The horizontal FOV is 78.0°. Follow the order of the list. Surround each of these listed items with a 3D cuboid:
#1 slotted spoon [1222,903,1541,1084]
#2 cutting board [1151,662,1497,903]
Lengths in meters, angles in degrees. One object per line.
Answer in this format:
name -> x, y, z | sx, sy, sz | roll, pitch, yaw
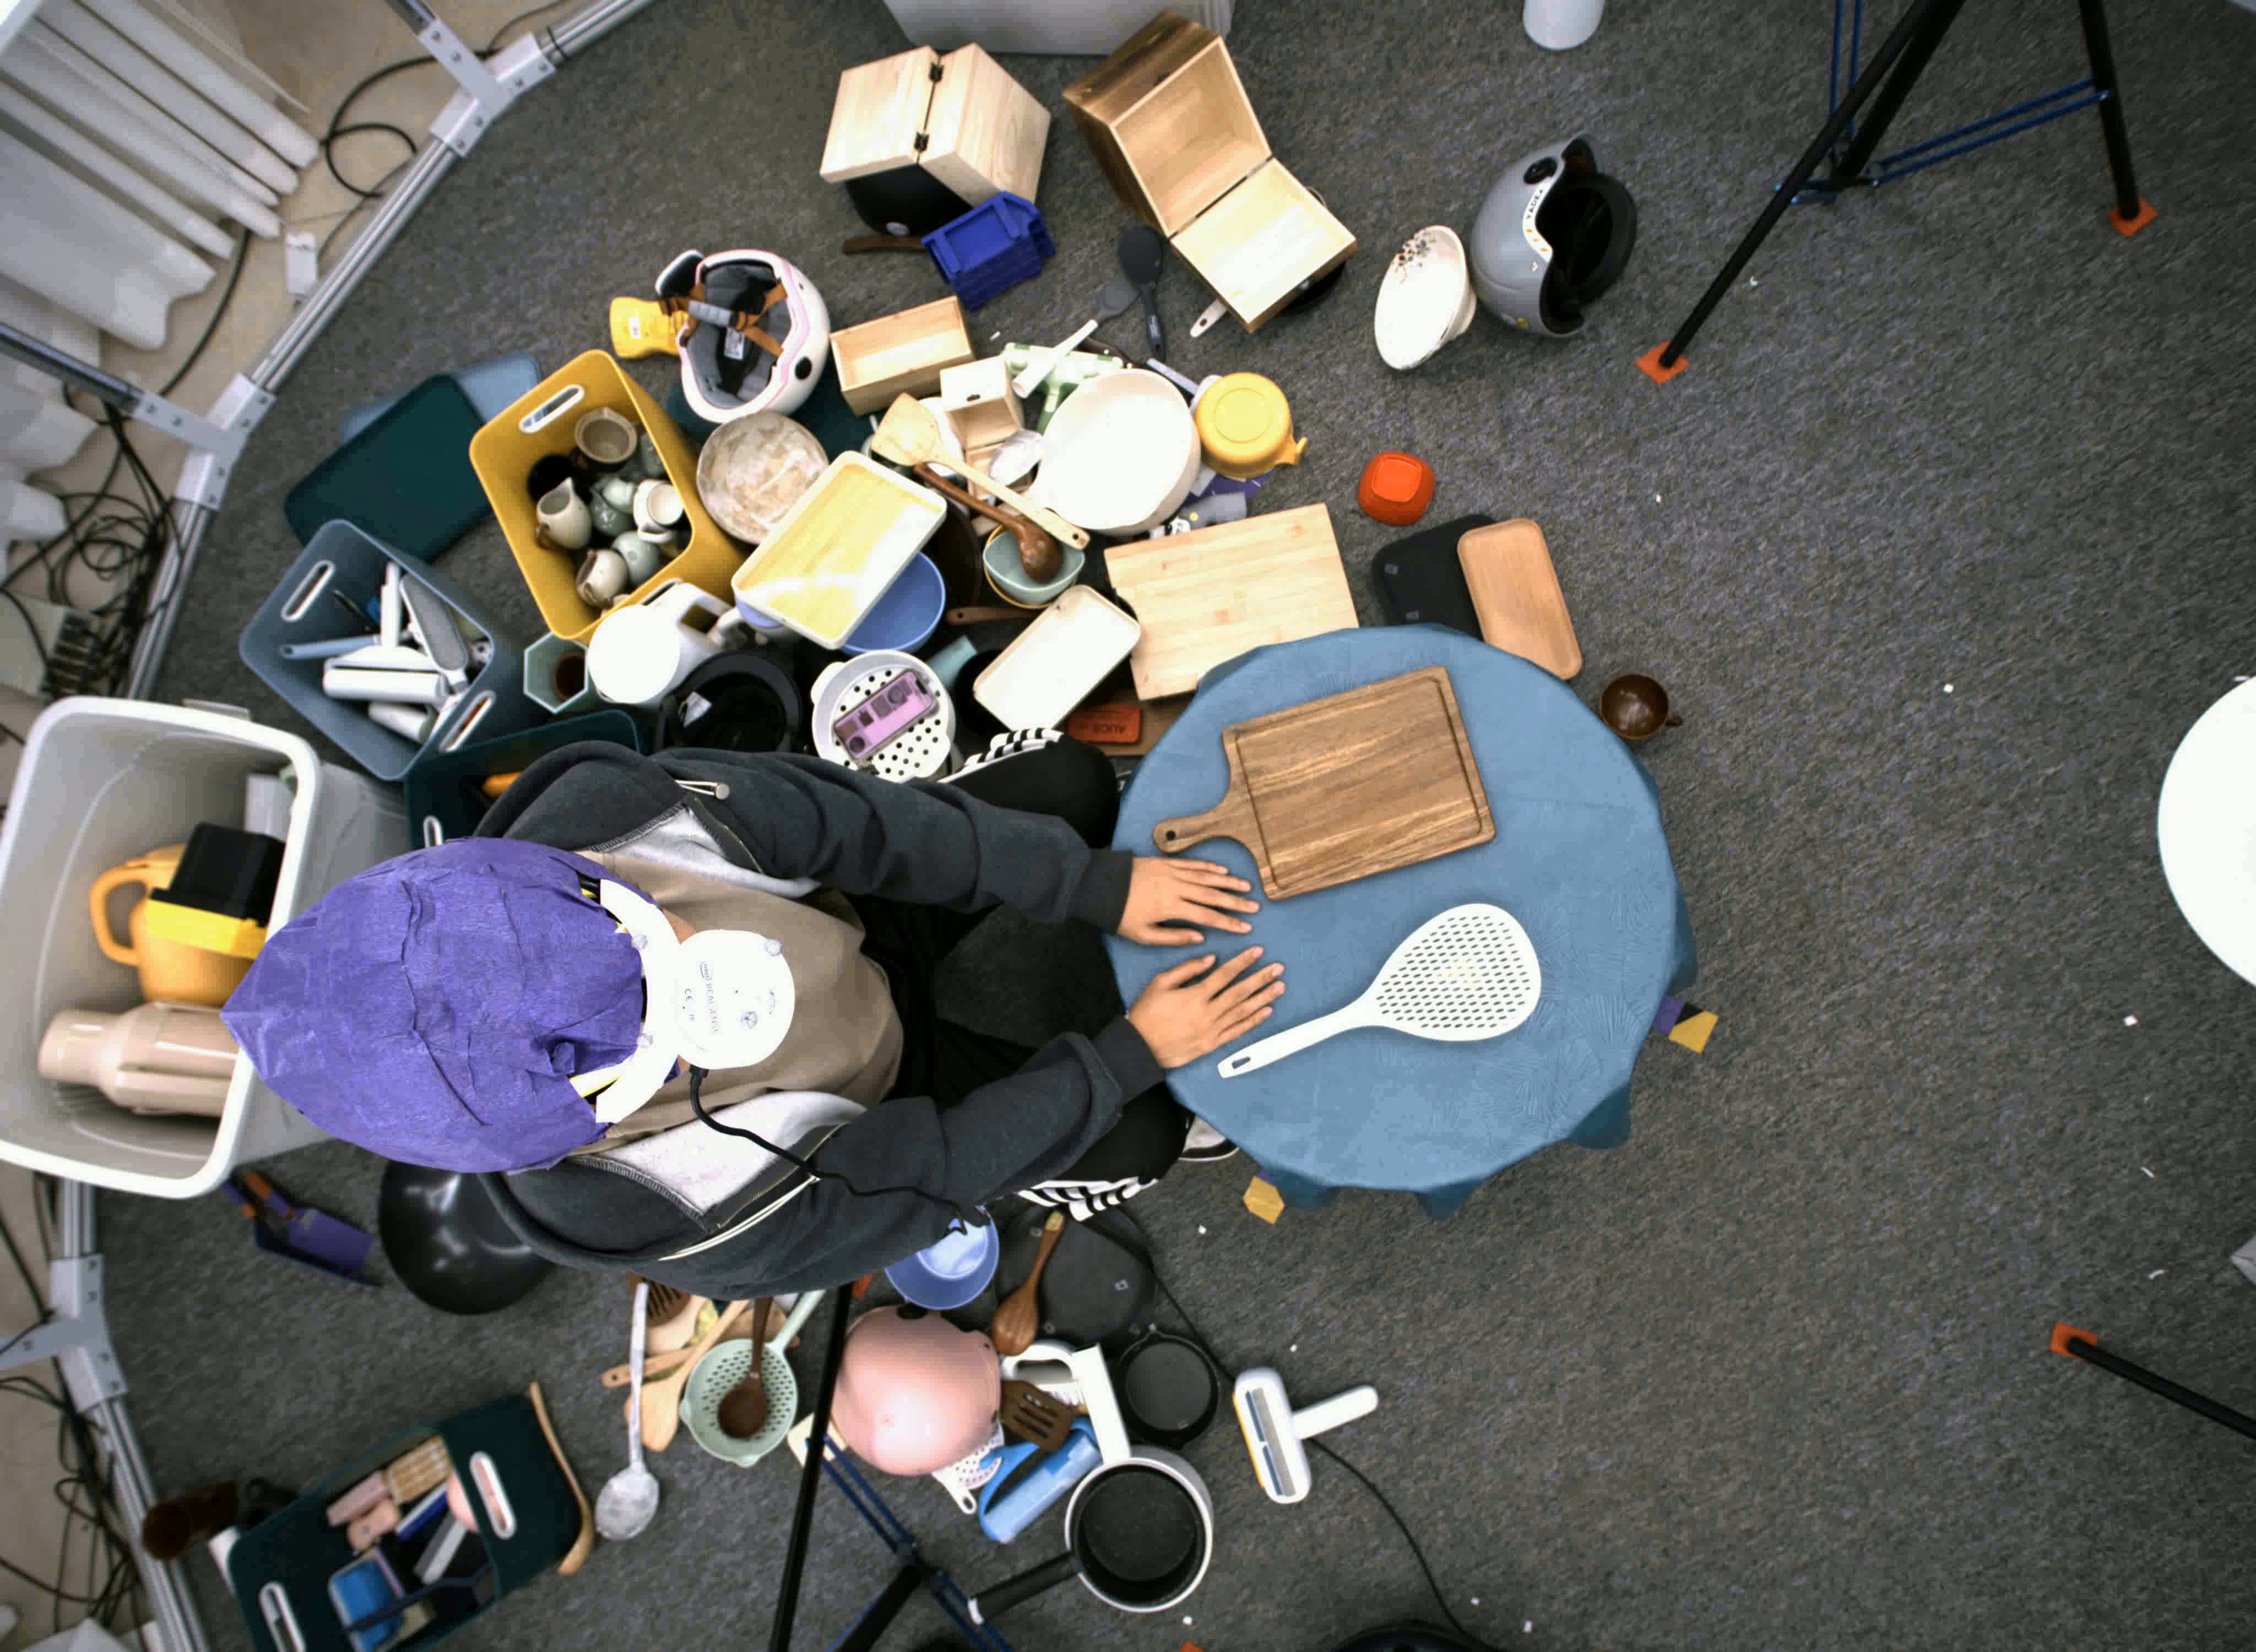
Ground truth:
slotted spoon -> 0.253, 0.191, 1.435 | 0.350, 0.050, 0.136 | -23, 85, 8
cutting board -> 0.193, -0.033, 1.469 | 0.354, 0.023, 0.200 | -16, 83, 9
